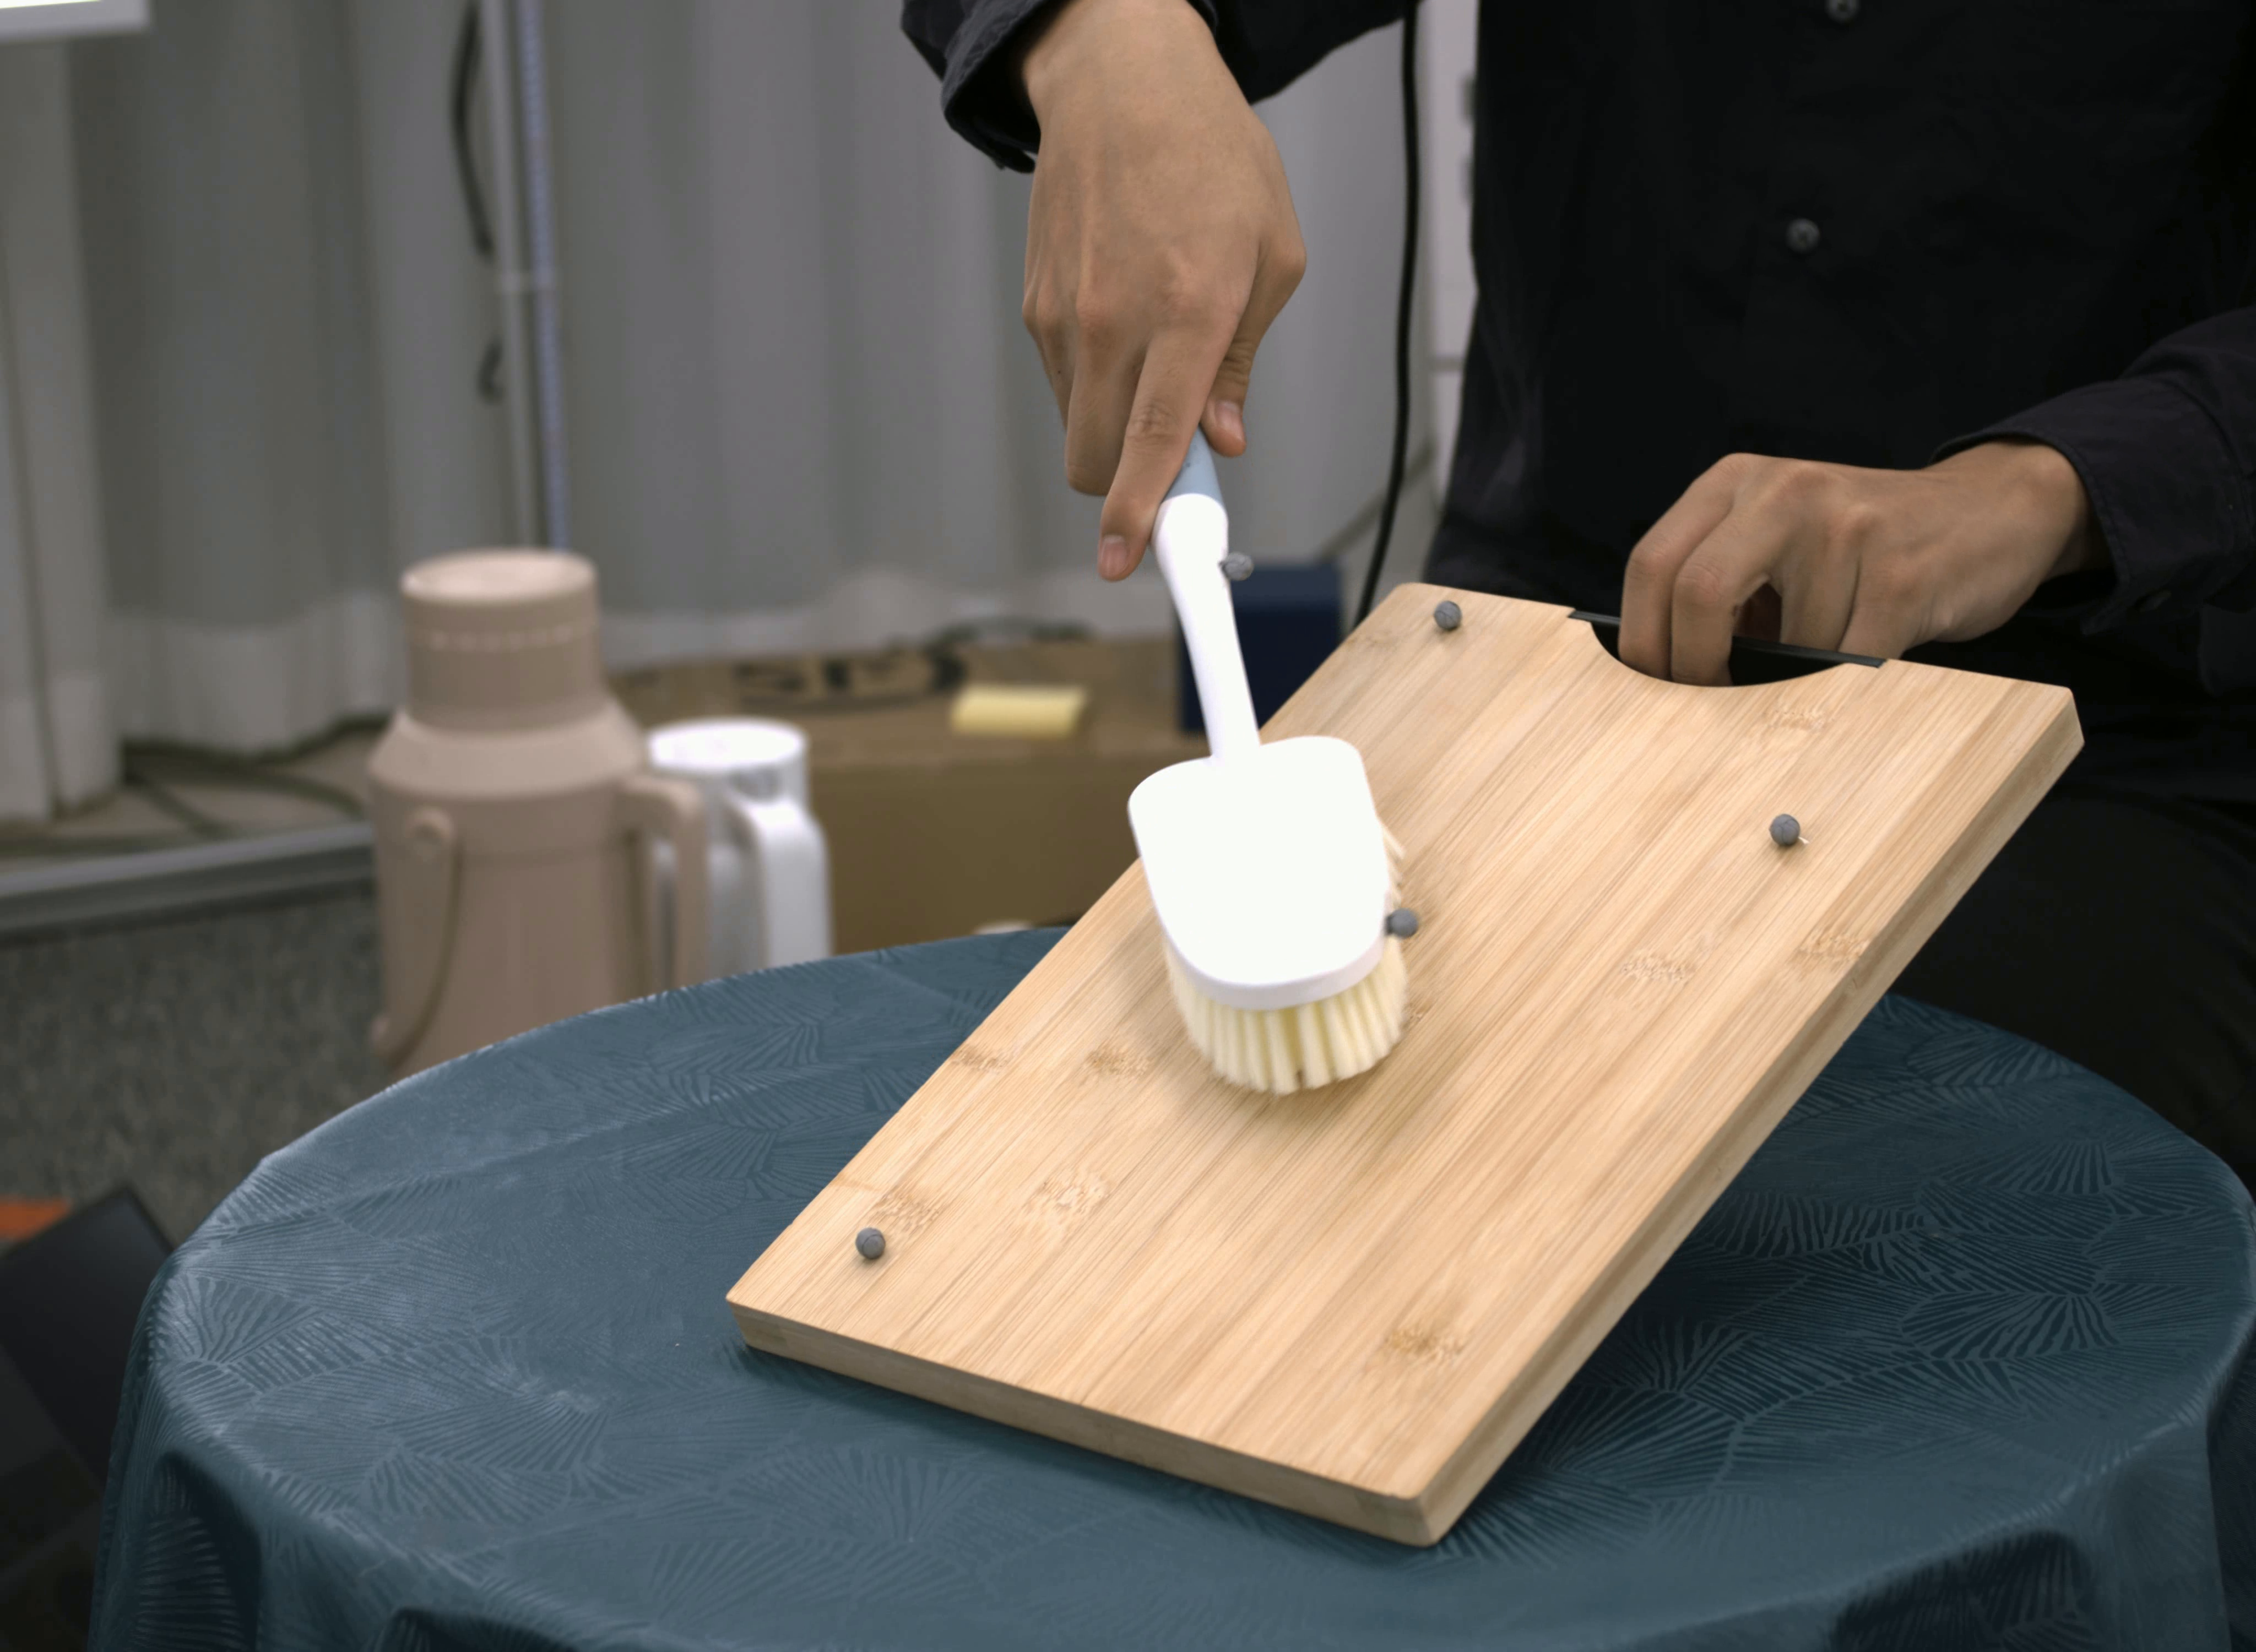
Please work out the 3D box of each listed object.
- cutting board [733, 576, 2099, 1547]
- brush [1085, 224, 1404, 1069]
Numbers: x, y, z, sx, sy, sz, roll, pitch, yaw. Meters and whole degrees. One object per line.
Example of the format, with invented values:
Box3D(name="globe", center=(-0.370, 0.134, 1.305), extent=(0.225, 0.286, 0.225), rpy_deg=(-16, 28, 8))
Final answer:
Box3D(name="cutting board", center=(0.081, 0.052, 1.471), extent=(0.256, 0.023, 0.345), rpy_deg=(10, 44, 39))
Box3D(name="brush", center=(0.030, -0.047, 1.548), extent=(0.081, 0.085, 0.330), rpy_deg=(15, 39, -24))
